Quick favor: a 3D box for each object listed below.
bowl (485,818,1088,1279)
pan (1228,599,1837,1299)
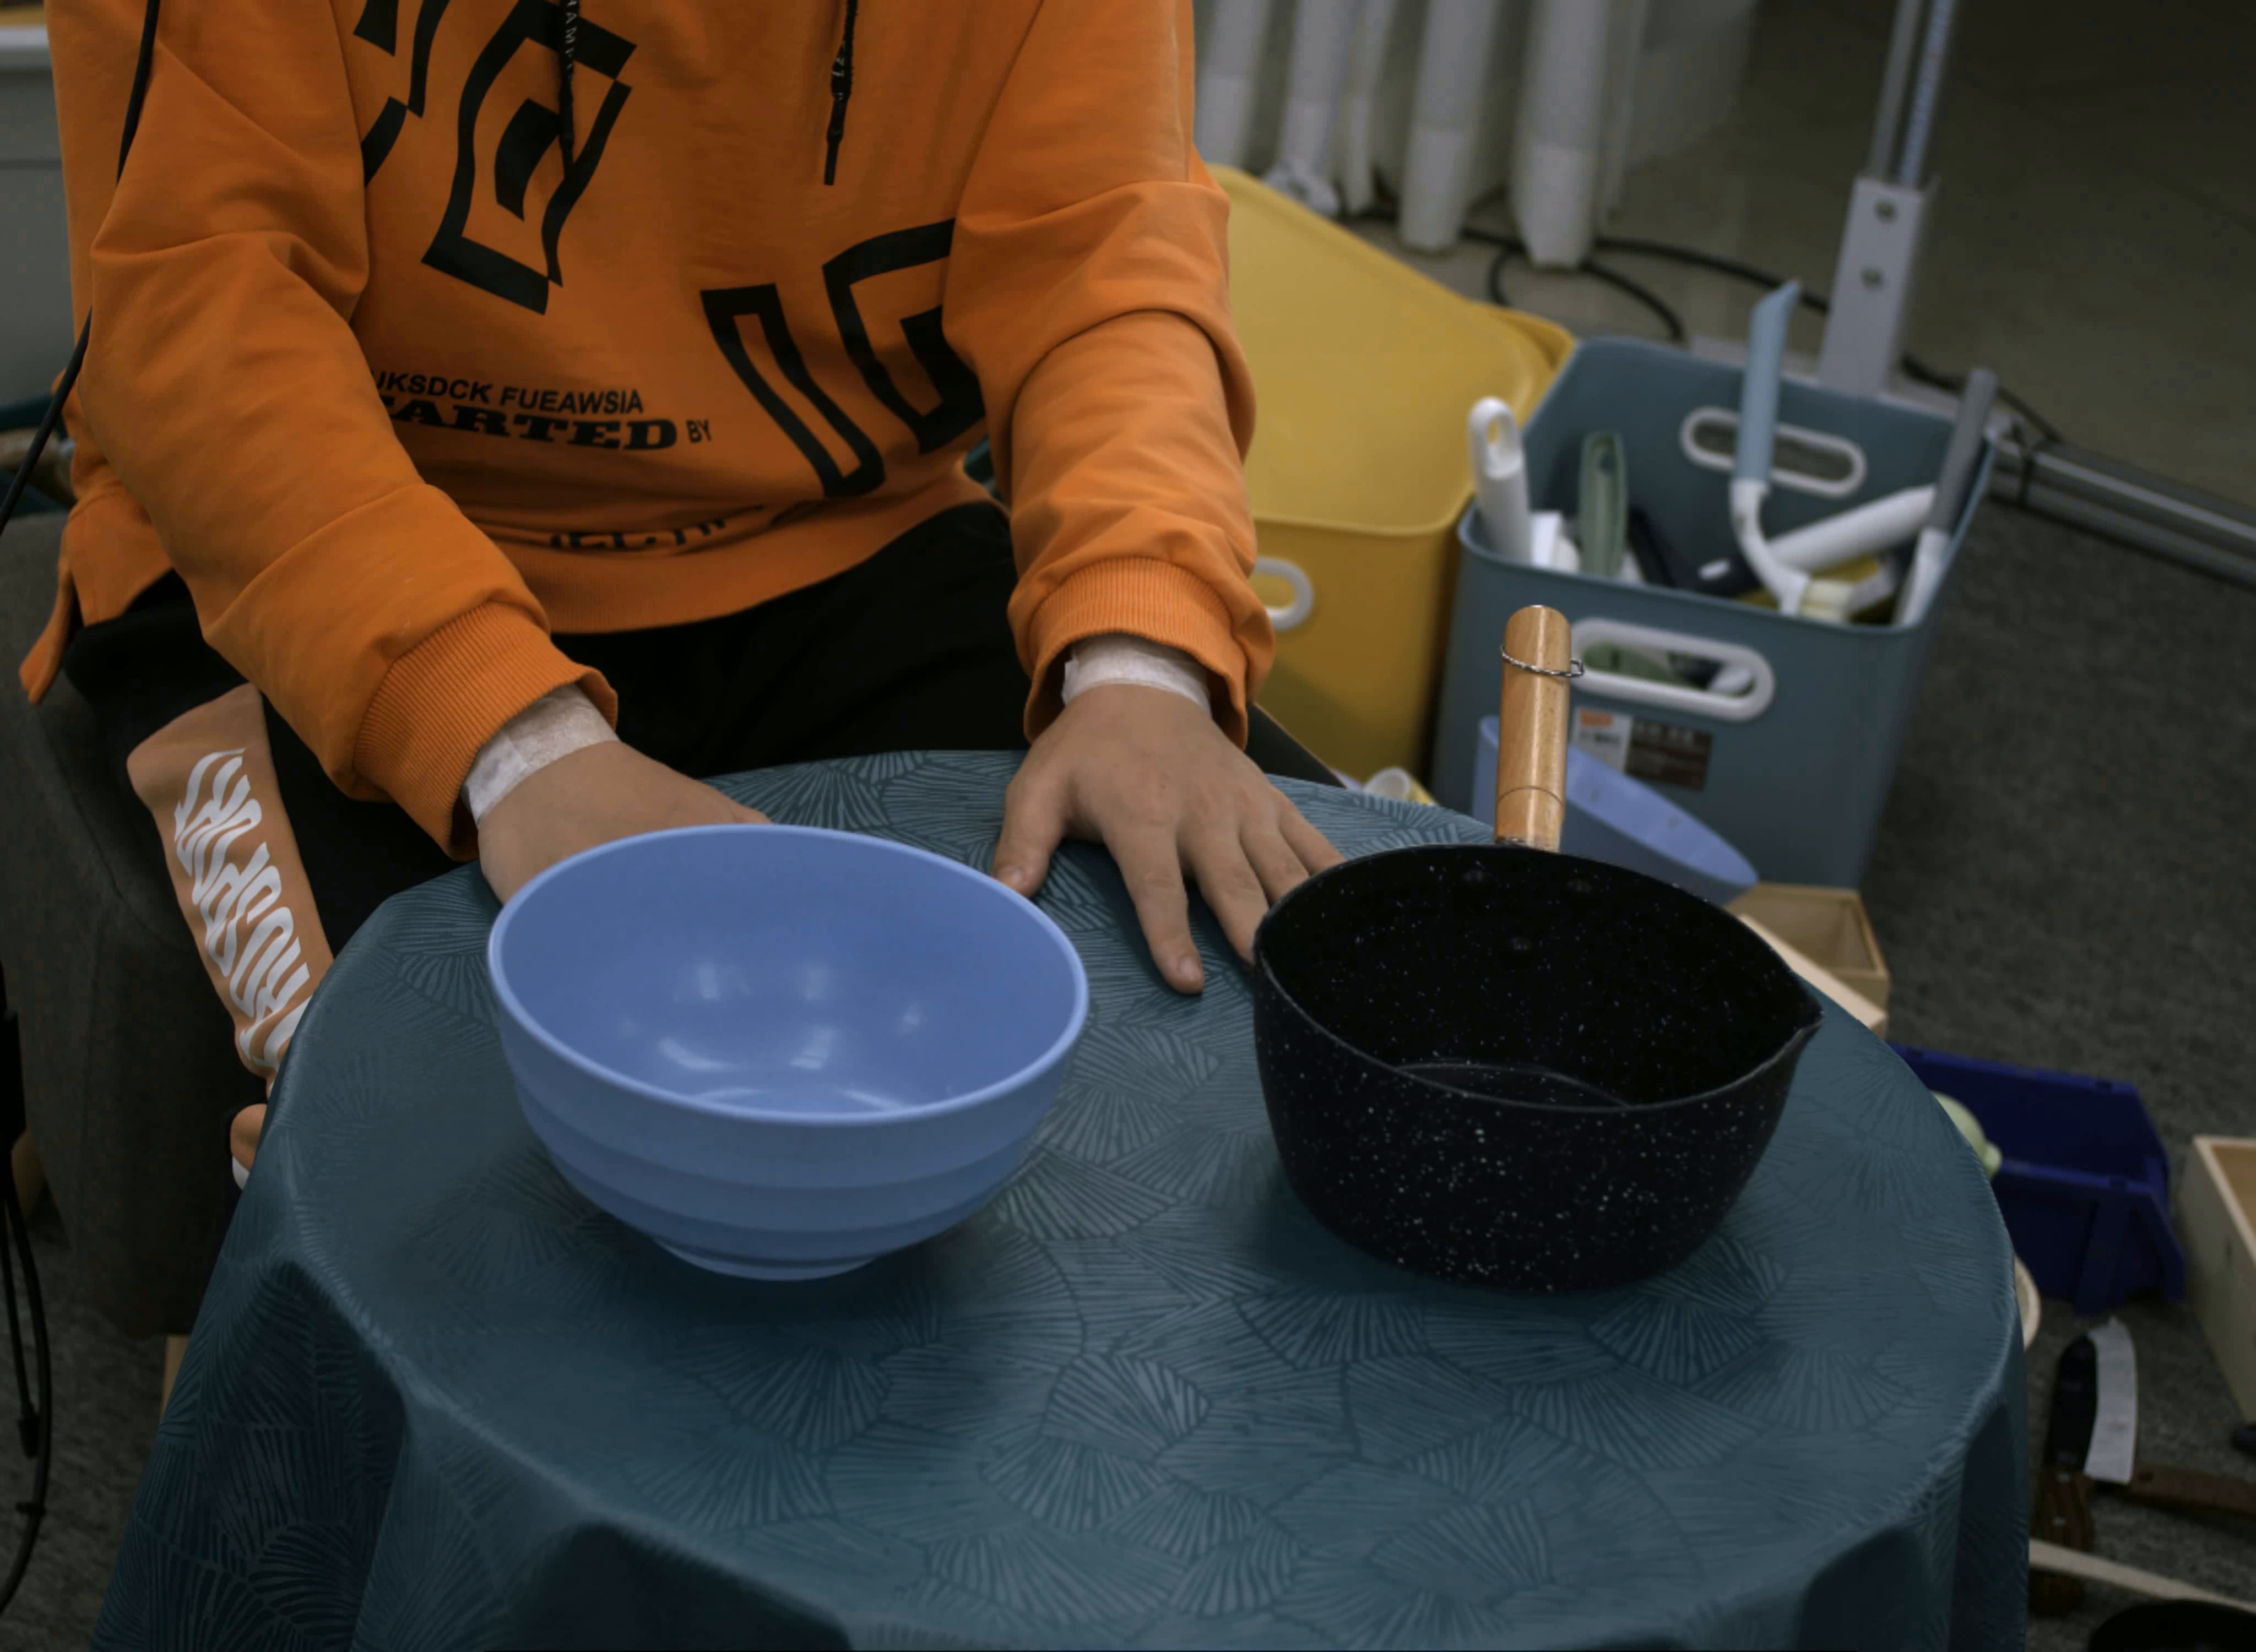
[{"bbox_3d":[-0.115,0.084,1.747,0.196,0.095,0.198,5,28,-3],"label":"bowl"},{"bbox_3d":[0.138,0.039,1.880,0.207,0.108,0.345,6,28,1],"label":"pan"}]
